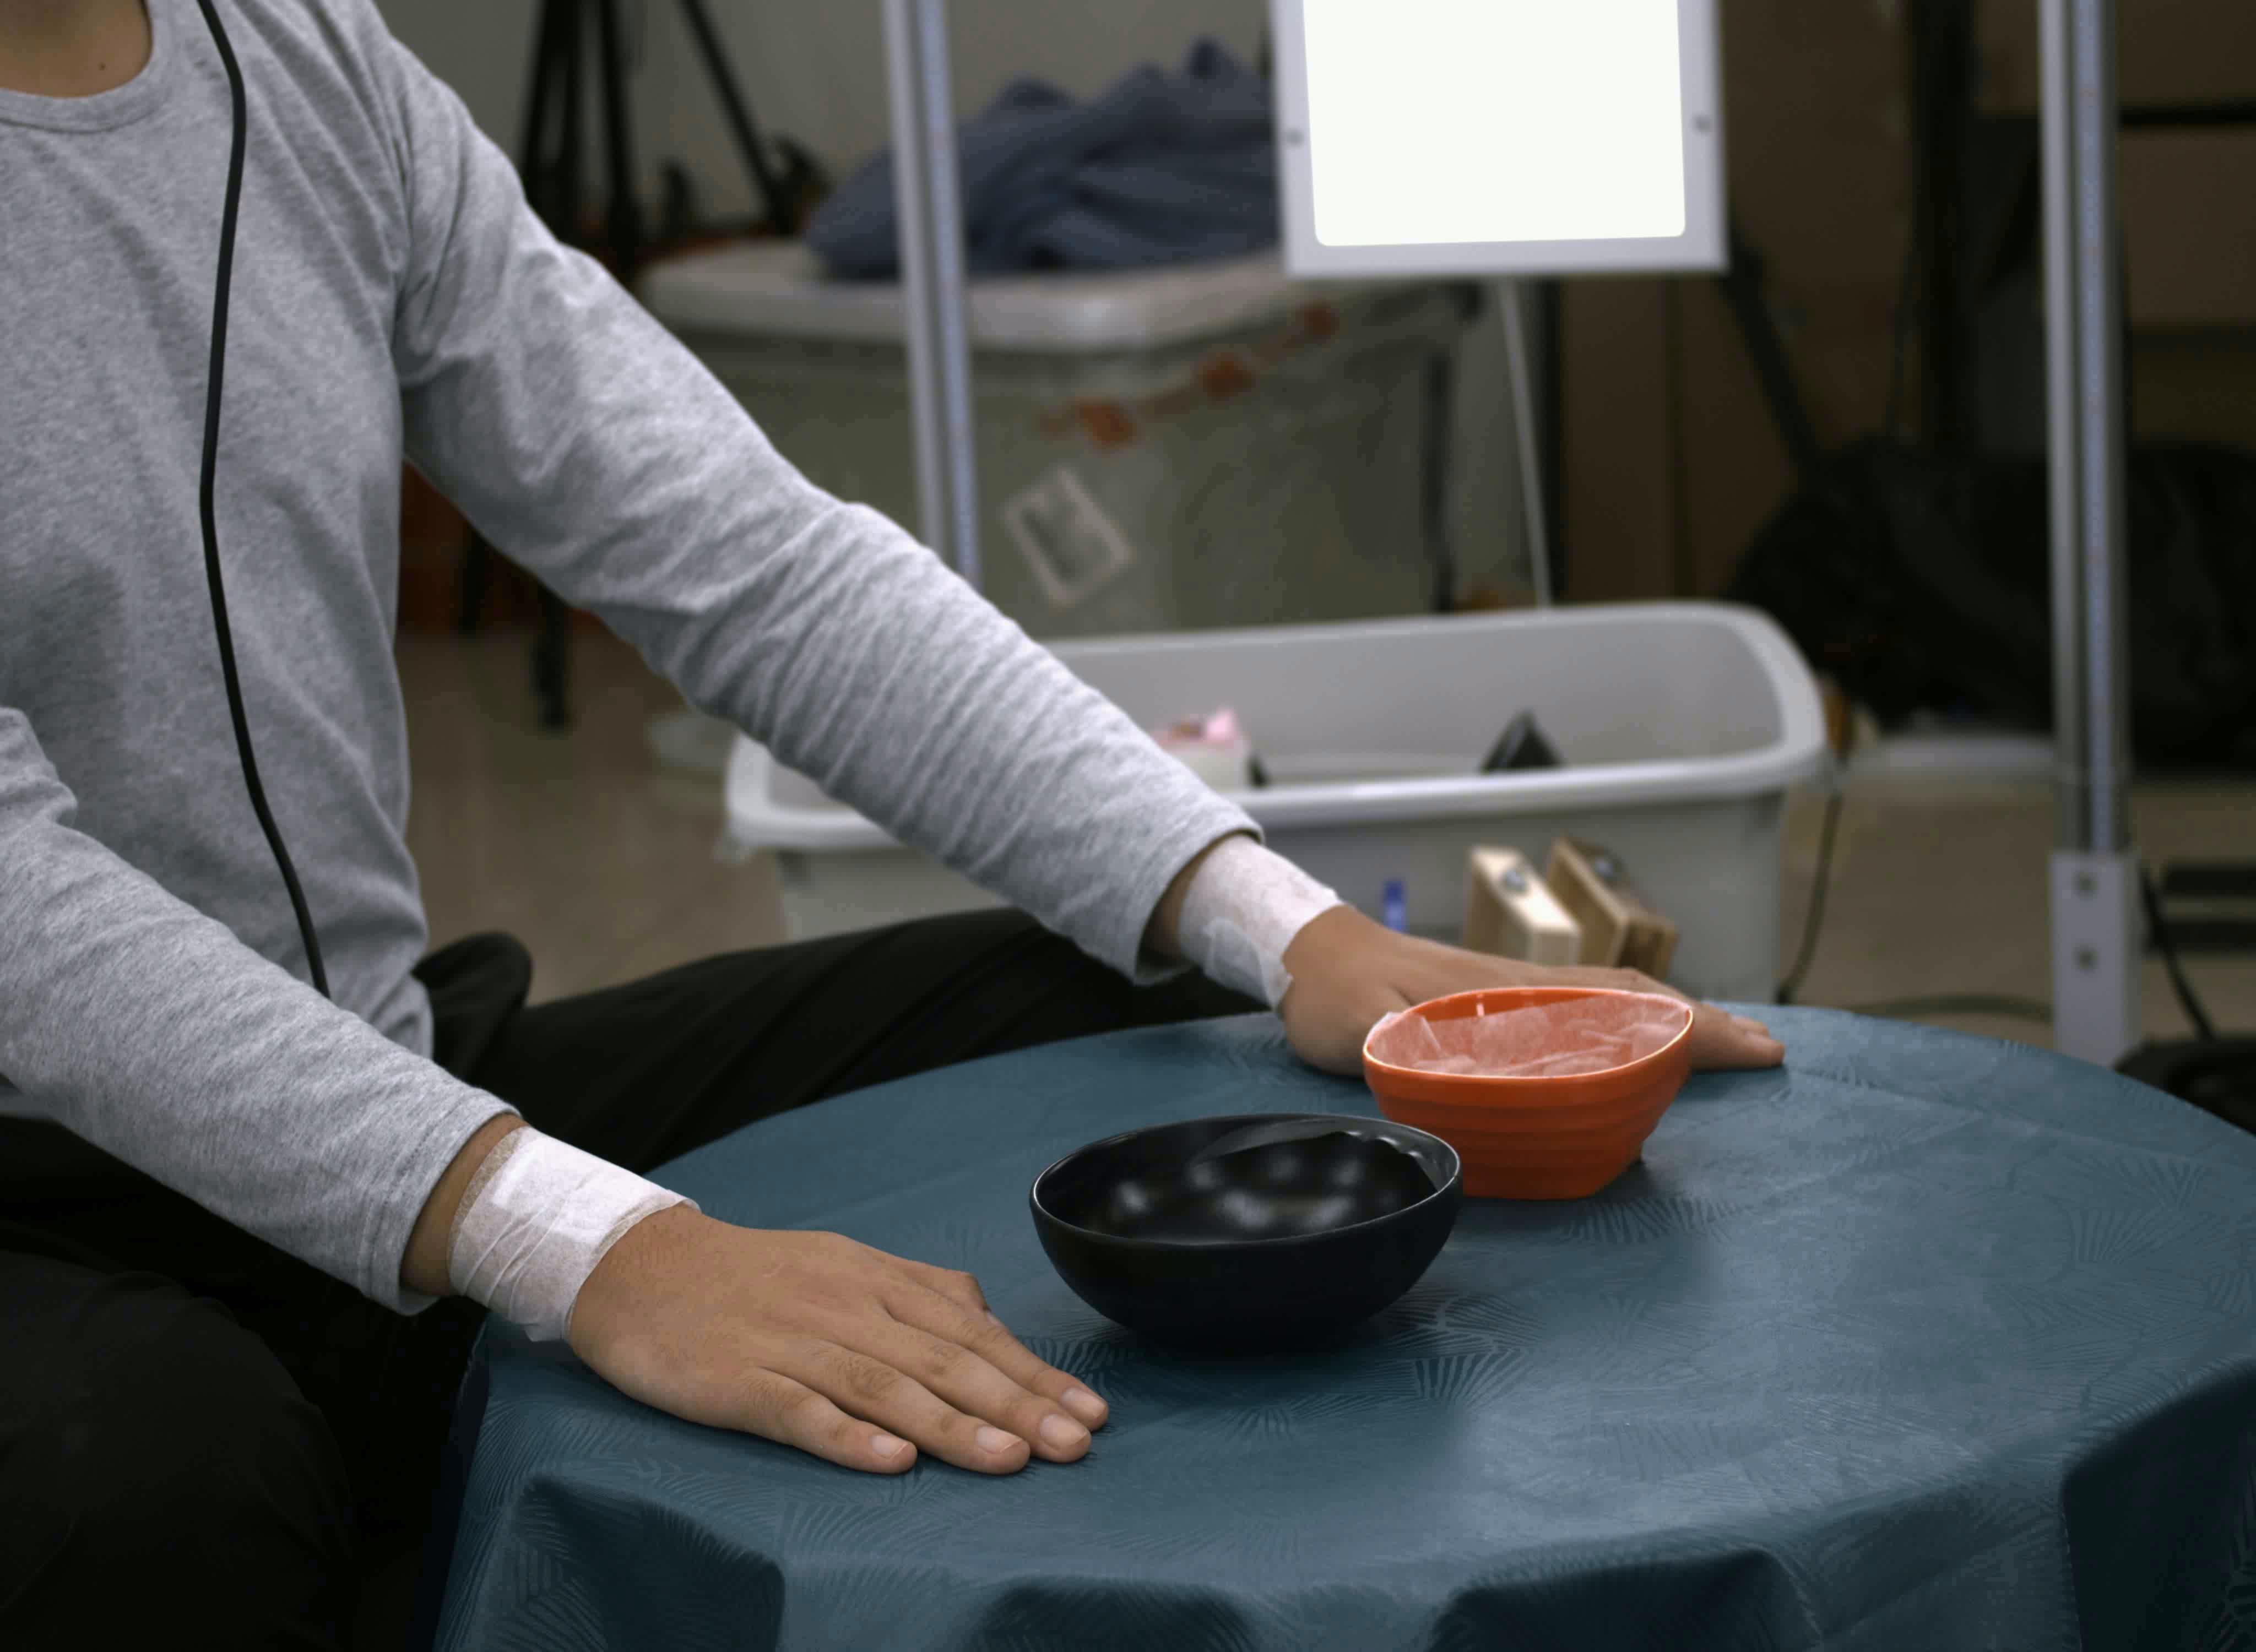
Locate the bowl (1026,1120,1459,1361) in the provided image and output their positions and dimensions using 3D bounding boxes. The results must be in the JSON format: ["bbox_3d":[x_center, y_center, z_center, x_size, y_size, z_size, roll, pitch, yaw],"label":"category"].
[{"bbox_3d":[0.039,0.136,1.754,0.140,0.050,0.140,-7,12,0],"label":"bowl"}]

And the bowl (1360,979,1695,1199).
[{"bbox_3d":[0.138,0.092,1.881,0.118,0.051,0.119,-4,16,0],"label":"bowl"}]
